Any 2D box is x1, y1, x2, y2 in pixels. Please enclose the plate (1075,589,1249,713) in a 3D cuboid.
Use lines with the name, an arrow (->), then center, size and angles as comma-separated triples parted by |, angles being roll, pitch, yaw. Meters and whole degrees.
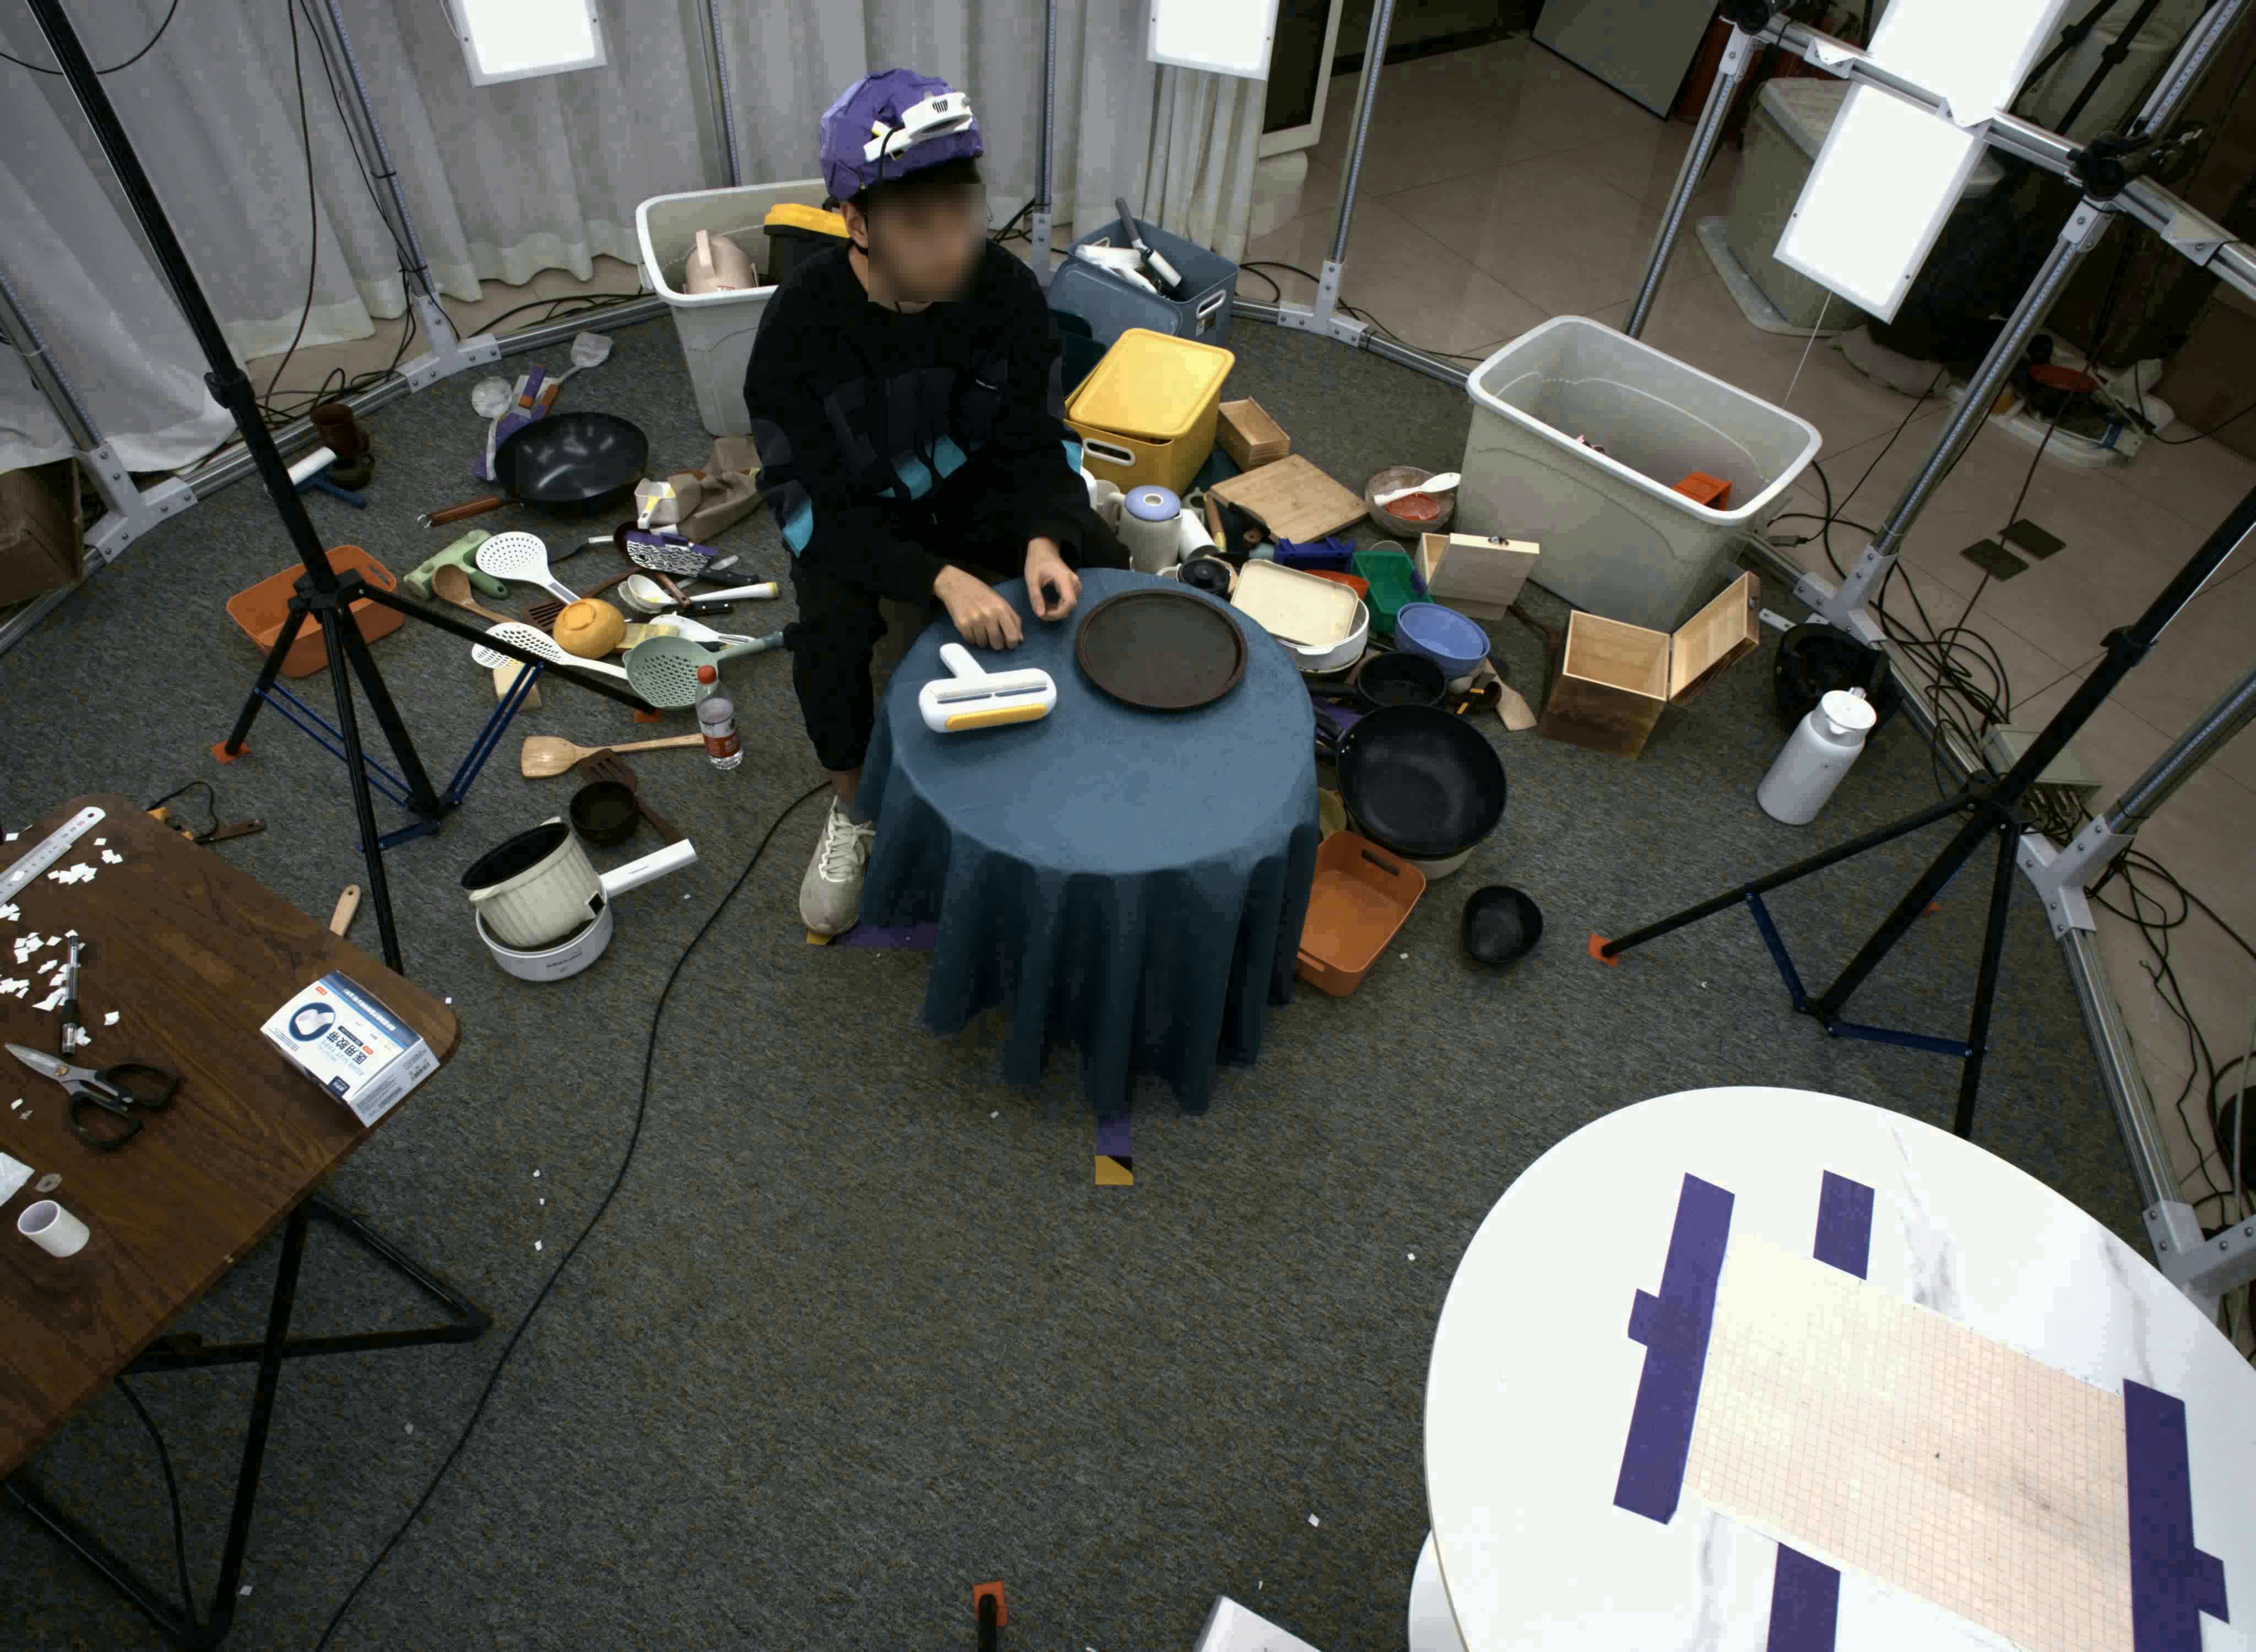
plate -> 0.049, -0.258, 1.880 | 0.254, 0.028, 0.261 | 1, 49, -1

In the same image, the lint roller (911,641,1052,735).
lint roller -> -0.218, -0.207, 1.790 | 0.193, 0.072, 0.197 | -10, 49, -19
